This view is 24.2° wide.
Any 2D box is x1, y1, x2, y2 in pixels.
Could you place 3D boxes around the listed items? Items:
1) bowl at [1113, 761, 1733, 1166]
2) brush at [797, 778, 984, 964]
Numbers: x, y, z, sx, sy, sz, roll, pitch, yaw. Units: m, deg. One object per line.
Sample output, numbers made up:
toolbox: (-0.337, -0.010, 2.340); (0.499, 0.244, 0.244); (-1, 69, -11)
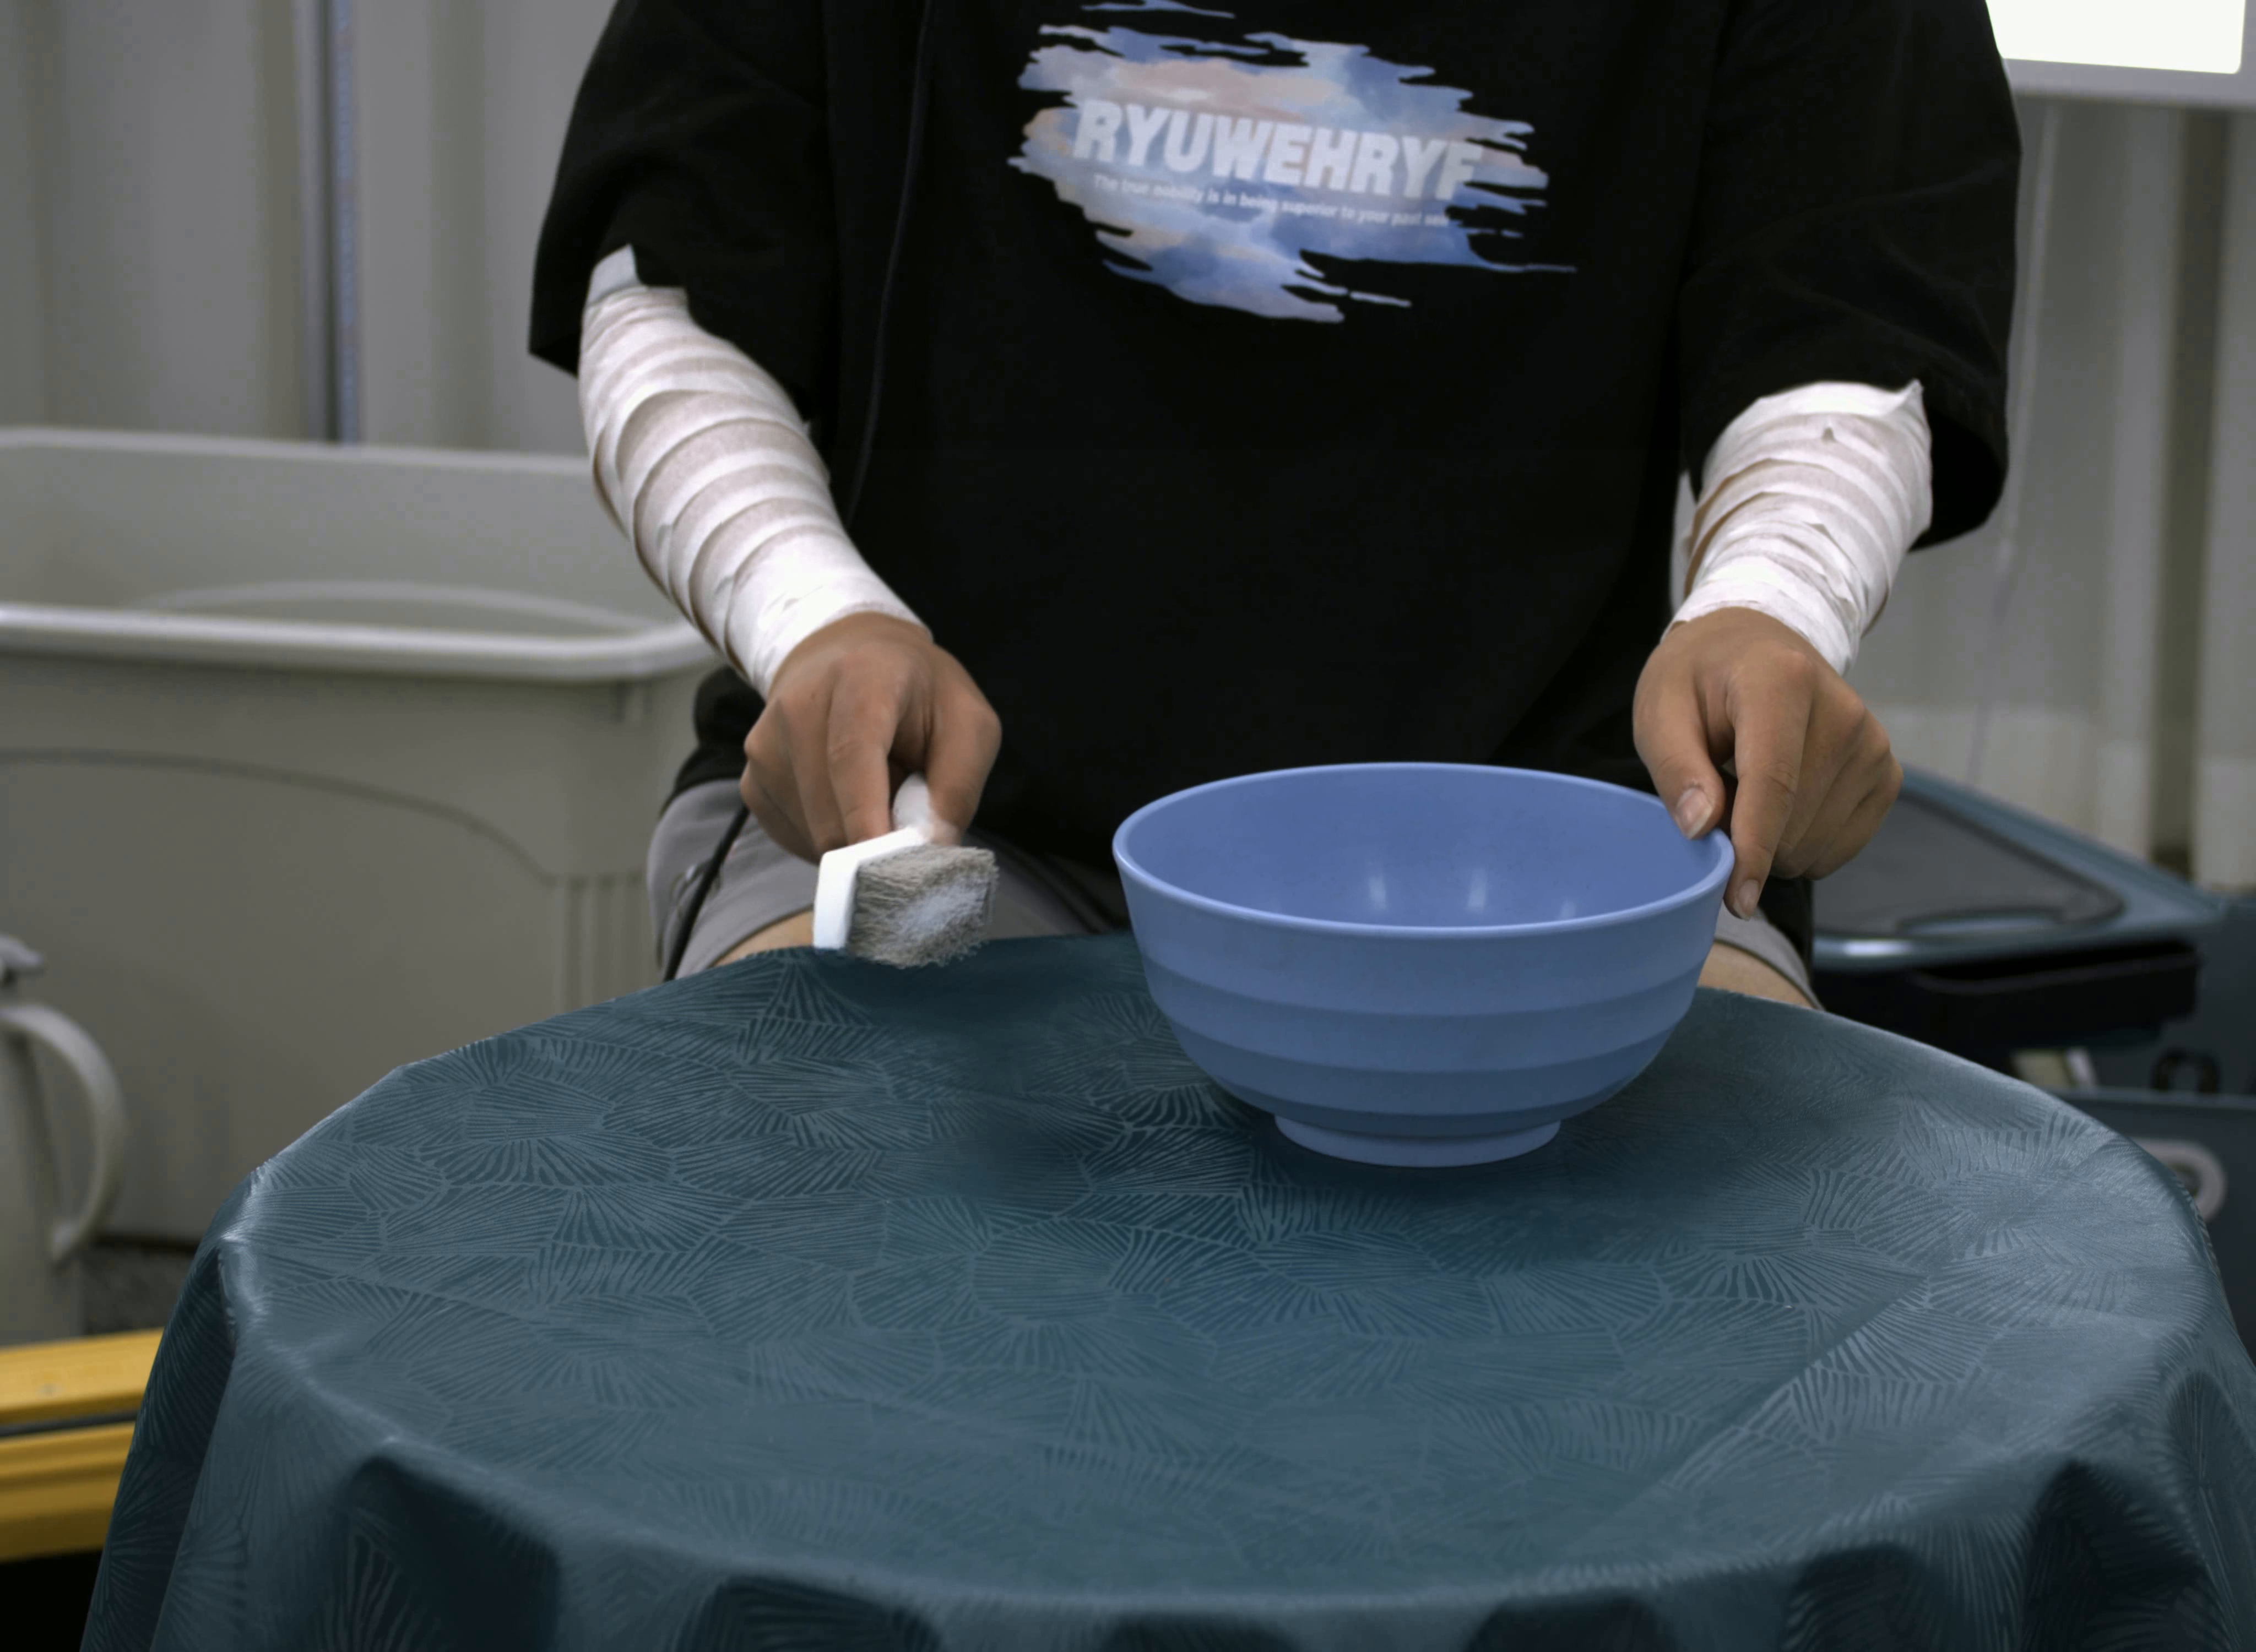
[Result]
bowl: (0.093, 0.049, 1.677); (0.196, 0.096, 0.195); (0, 16, 1)
brush: (-0.063, 0.012, 1.728); (0.050, 0.034, 0.243); (12, 8, 5)
